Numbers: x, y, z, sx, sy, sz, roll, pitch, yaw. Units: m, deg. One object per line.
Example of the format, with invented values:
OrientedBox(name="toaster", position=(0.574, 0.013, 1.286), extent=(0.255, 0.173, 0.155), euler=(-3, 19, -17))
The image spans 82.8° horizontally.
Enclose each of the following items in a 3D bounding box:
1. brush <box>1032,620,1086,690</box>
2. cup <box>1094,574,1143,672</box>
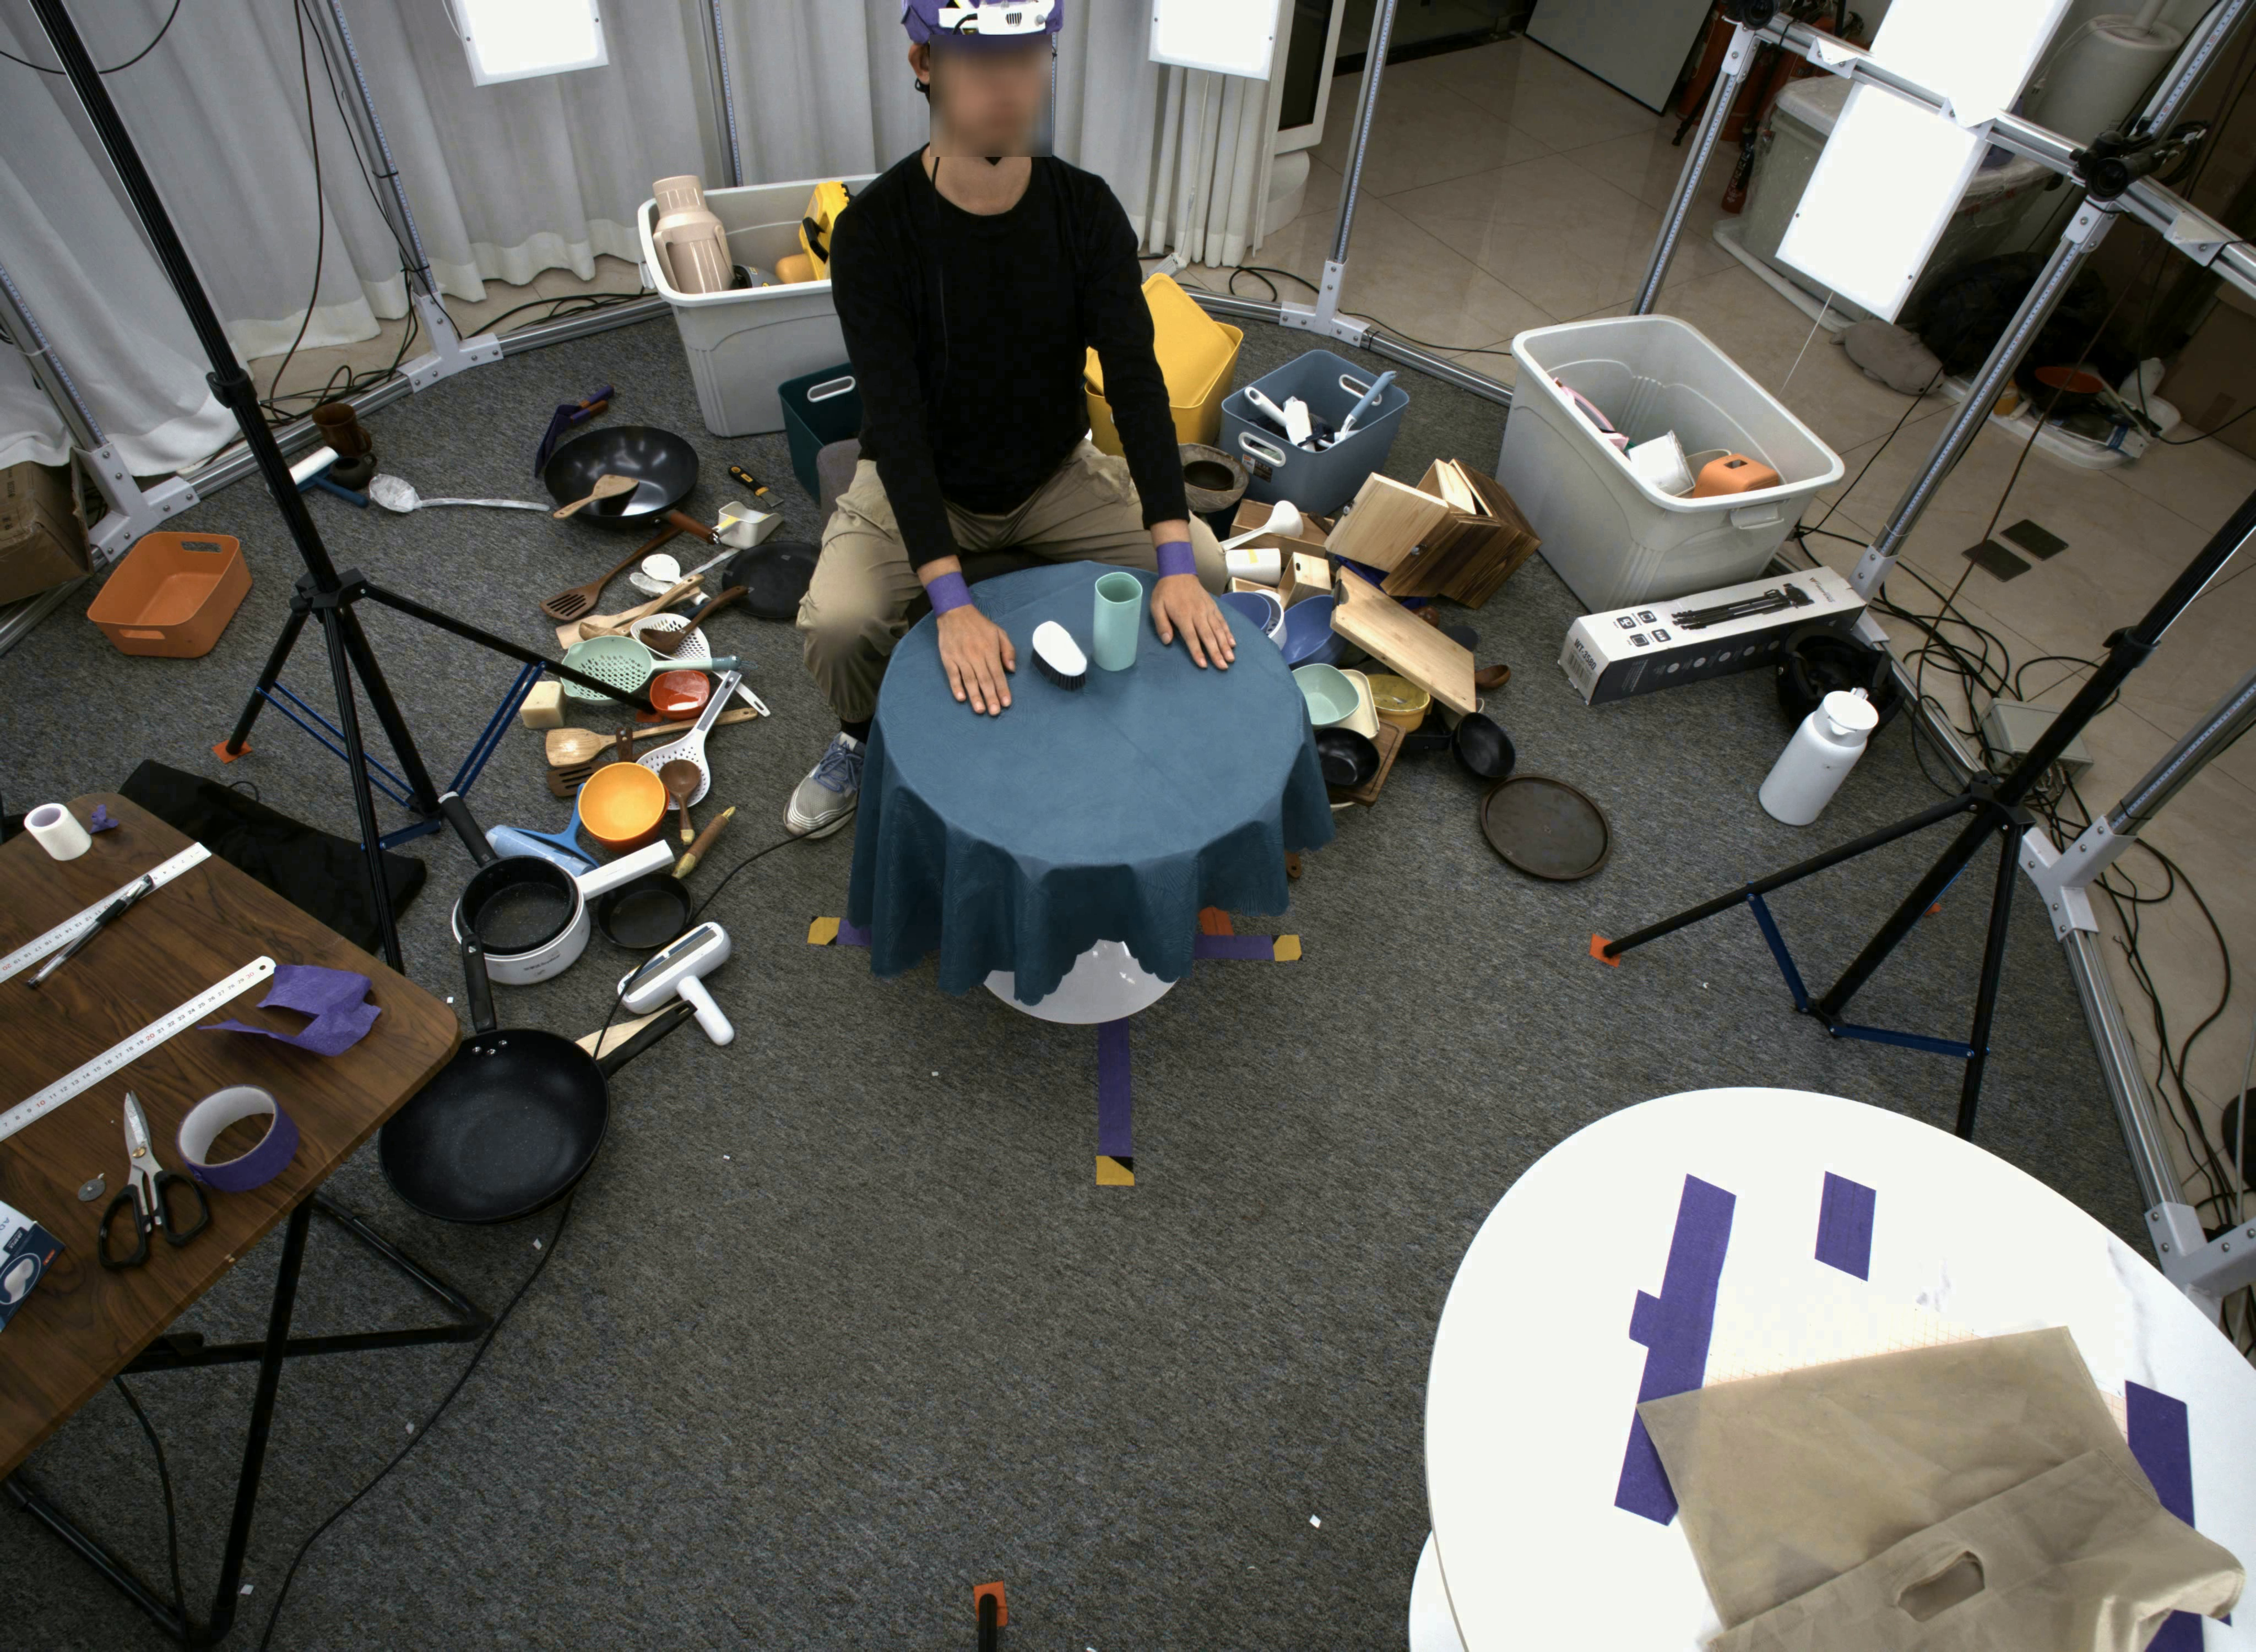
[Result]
OrientedBox(name="brush", position=(-0.098, -0.251, 1.829), extent=(0.050, 0.071, 0.101), euler=(-27, 57, -27))
OrientedBox(name="cup", position=(-0.017, -0.288, 1.836), extent=(0.066, 0.129, 0.068), euler=(2, 50, -3))
